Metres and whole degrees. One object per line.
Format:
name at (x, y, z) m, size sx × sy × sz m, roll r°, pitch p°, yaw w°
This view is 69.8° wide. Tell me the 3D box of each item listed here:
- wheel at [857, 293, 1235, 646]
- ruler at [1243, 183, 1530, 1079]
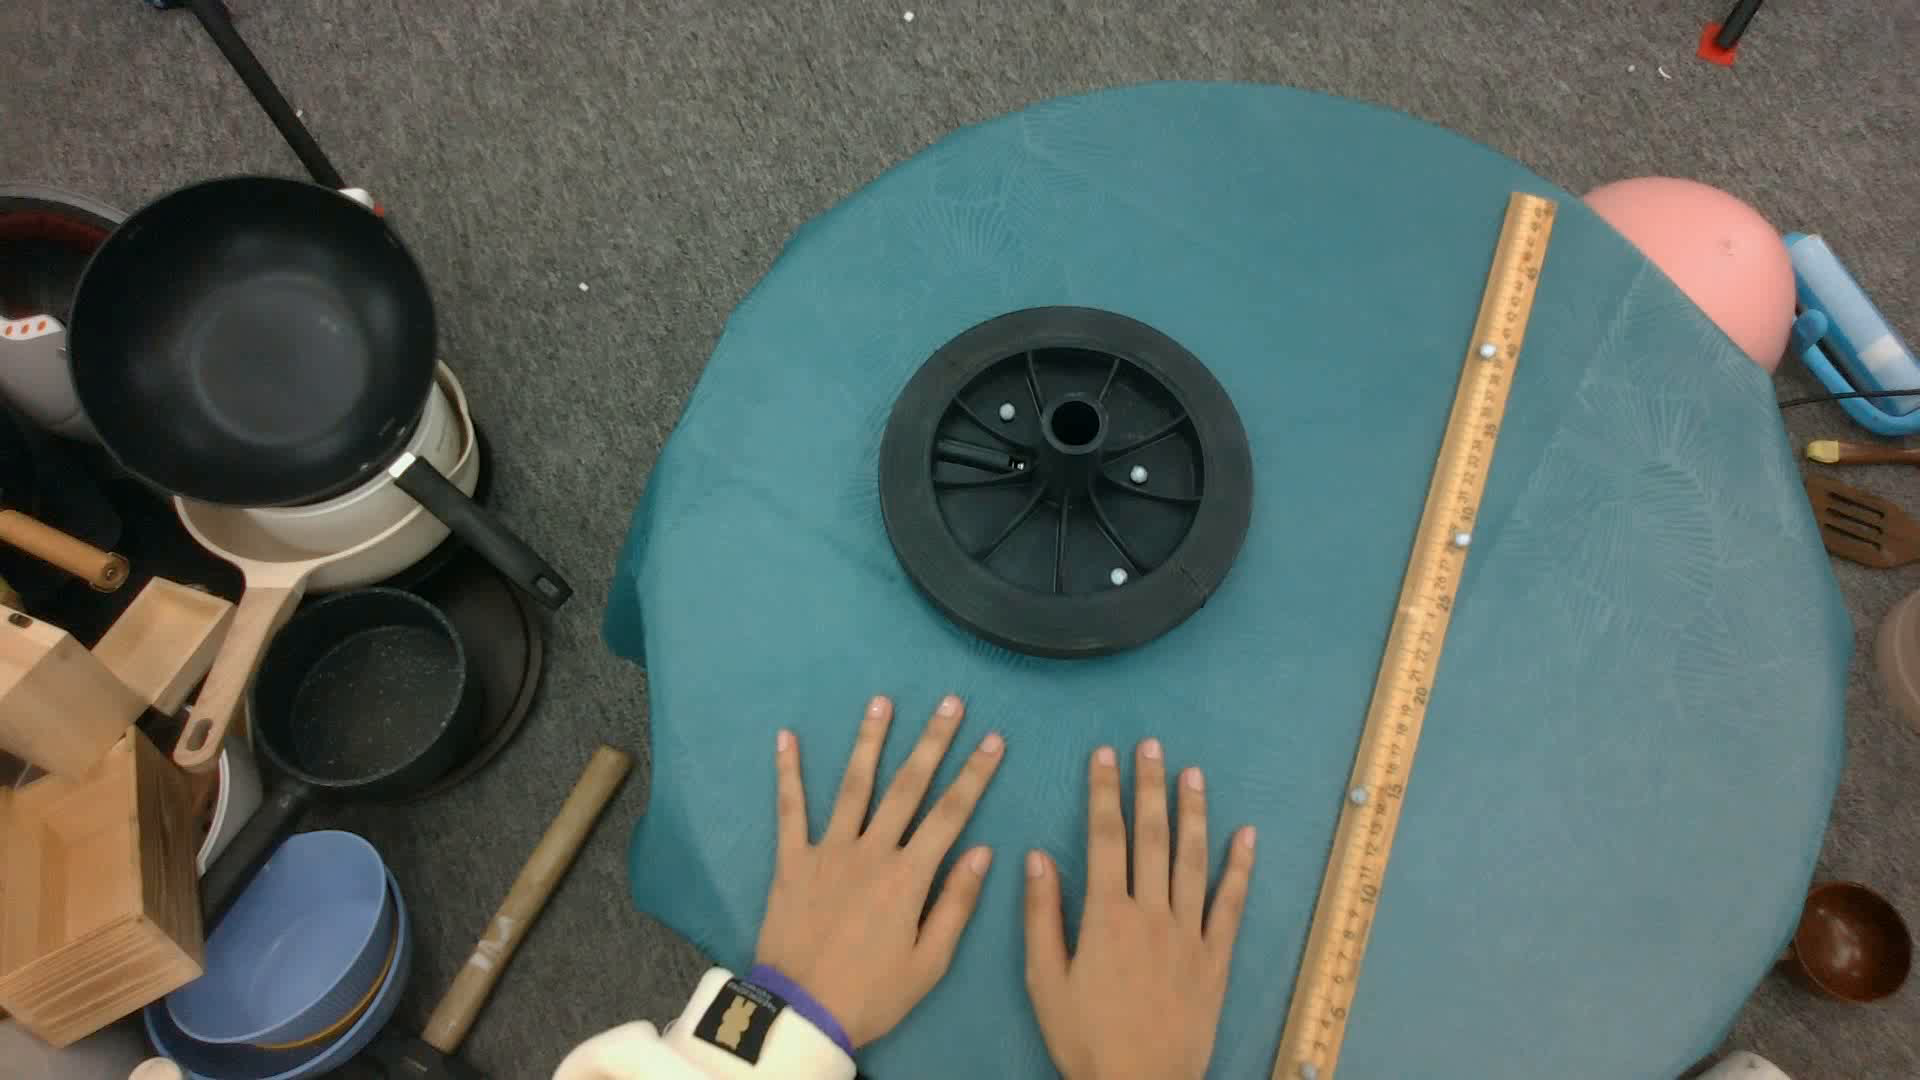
wheel at (0.043, -0.046, 0.672) m, size 0.190 × 0.079 × 0.188 m, roll -8°, pitch 70°, yaw -4°
ruler at (0.223, 0.022, 0.689) m, size 0.027 × 0.006 × 0.502 m, roll 20°, pitch 70°, yaw 5°
